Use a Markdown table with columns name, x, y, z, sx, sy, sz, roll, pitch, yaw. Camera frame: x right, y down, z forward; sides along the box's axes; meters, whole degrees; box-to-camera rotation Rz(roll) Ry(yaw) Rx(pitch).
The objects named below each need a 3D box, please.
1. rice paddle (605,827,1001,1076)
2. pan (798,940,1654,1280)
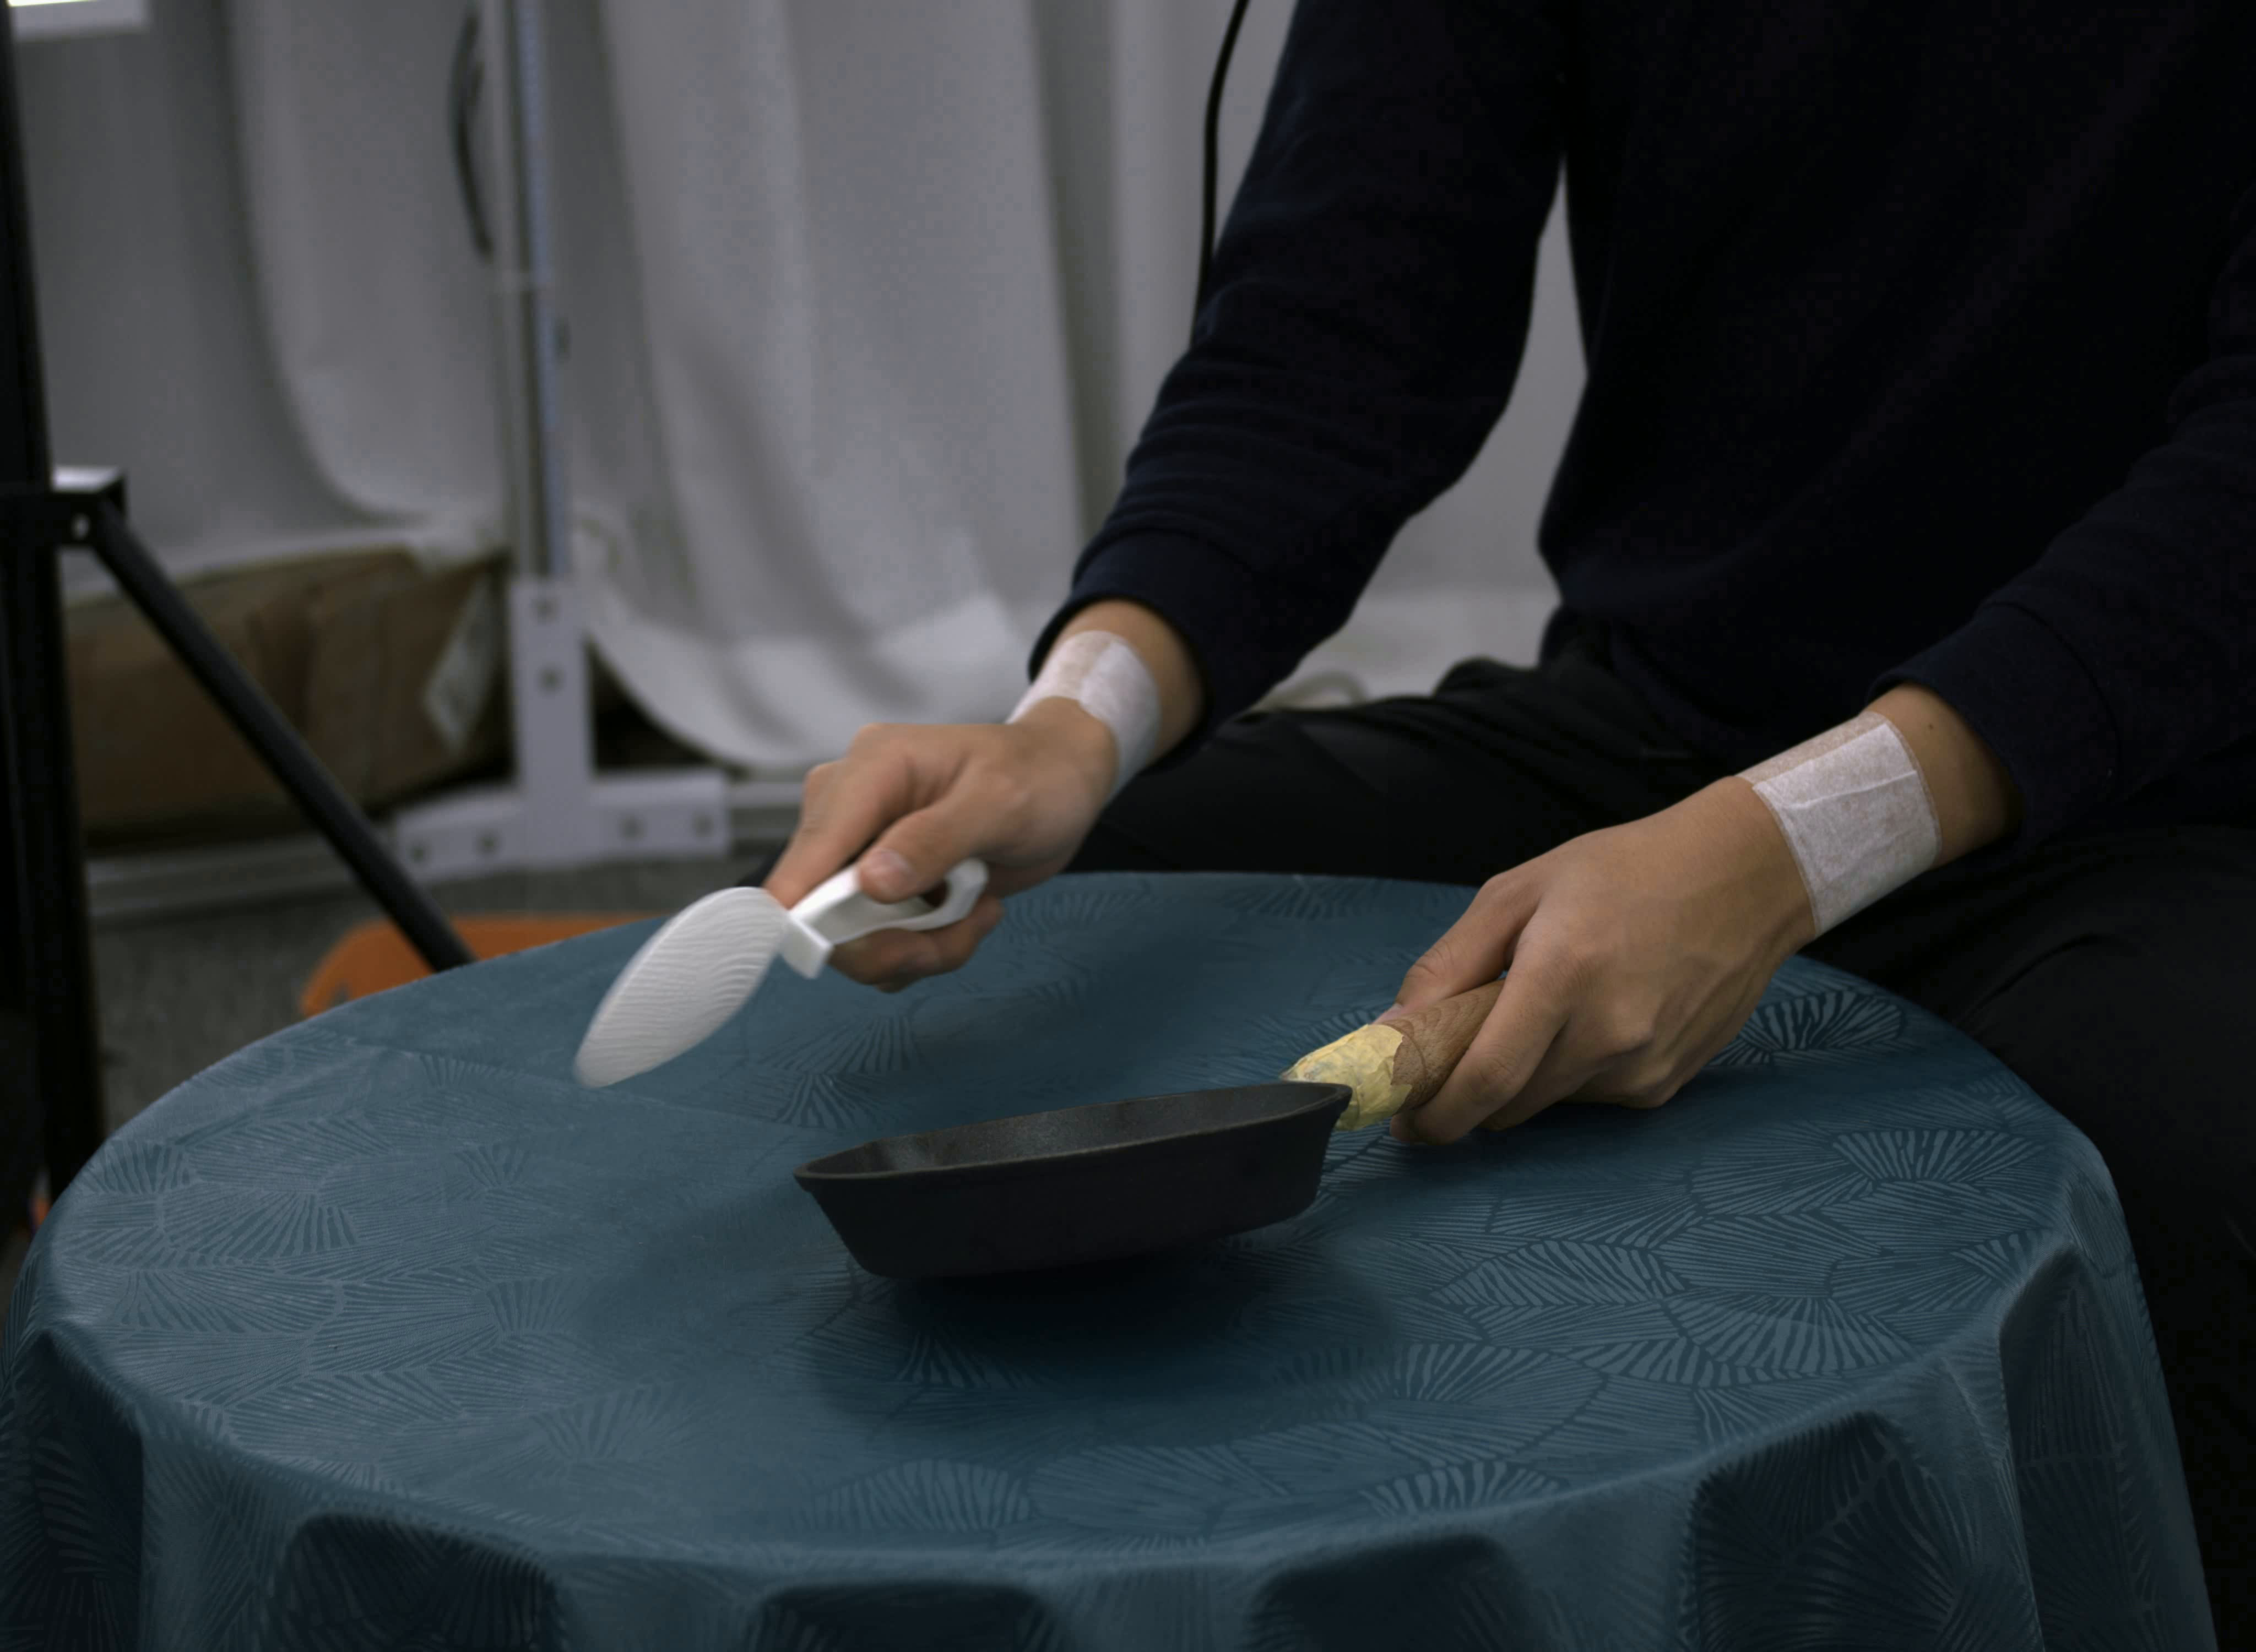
| name | x | y | z | sx | sy | sz | roll | pitch | yaw |
| --- | --- | --- | --- | --- | --- | --- | --- | --- | --- |
| rice paddle | -0.098 | 0.032 | 1.580 | 0.030 | 0.069 | 0.201 | 37 | 25 | 16 |
| pan | 0.048 | 0.081 | 1.528 | 0.316 | 0.050 | 0.172 | -11 | 2 | -41 |
